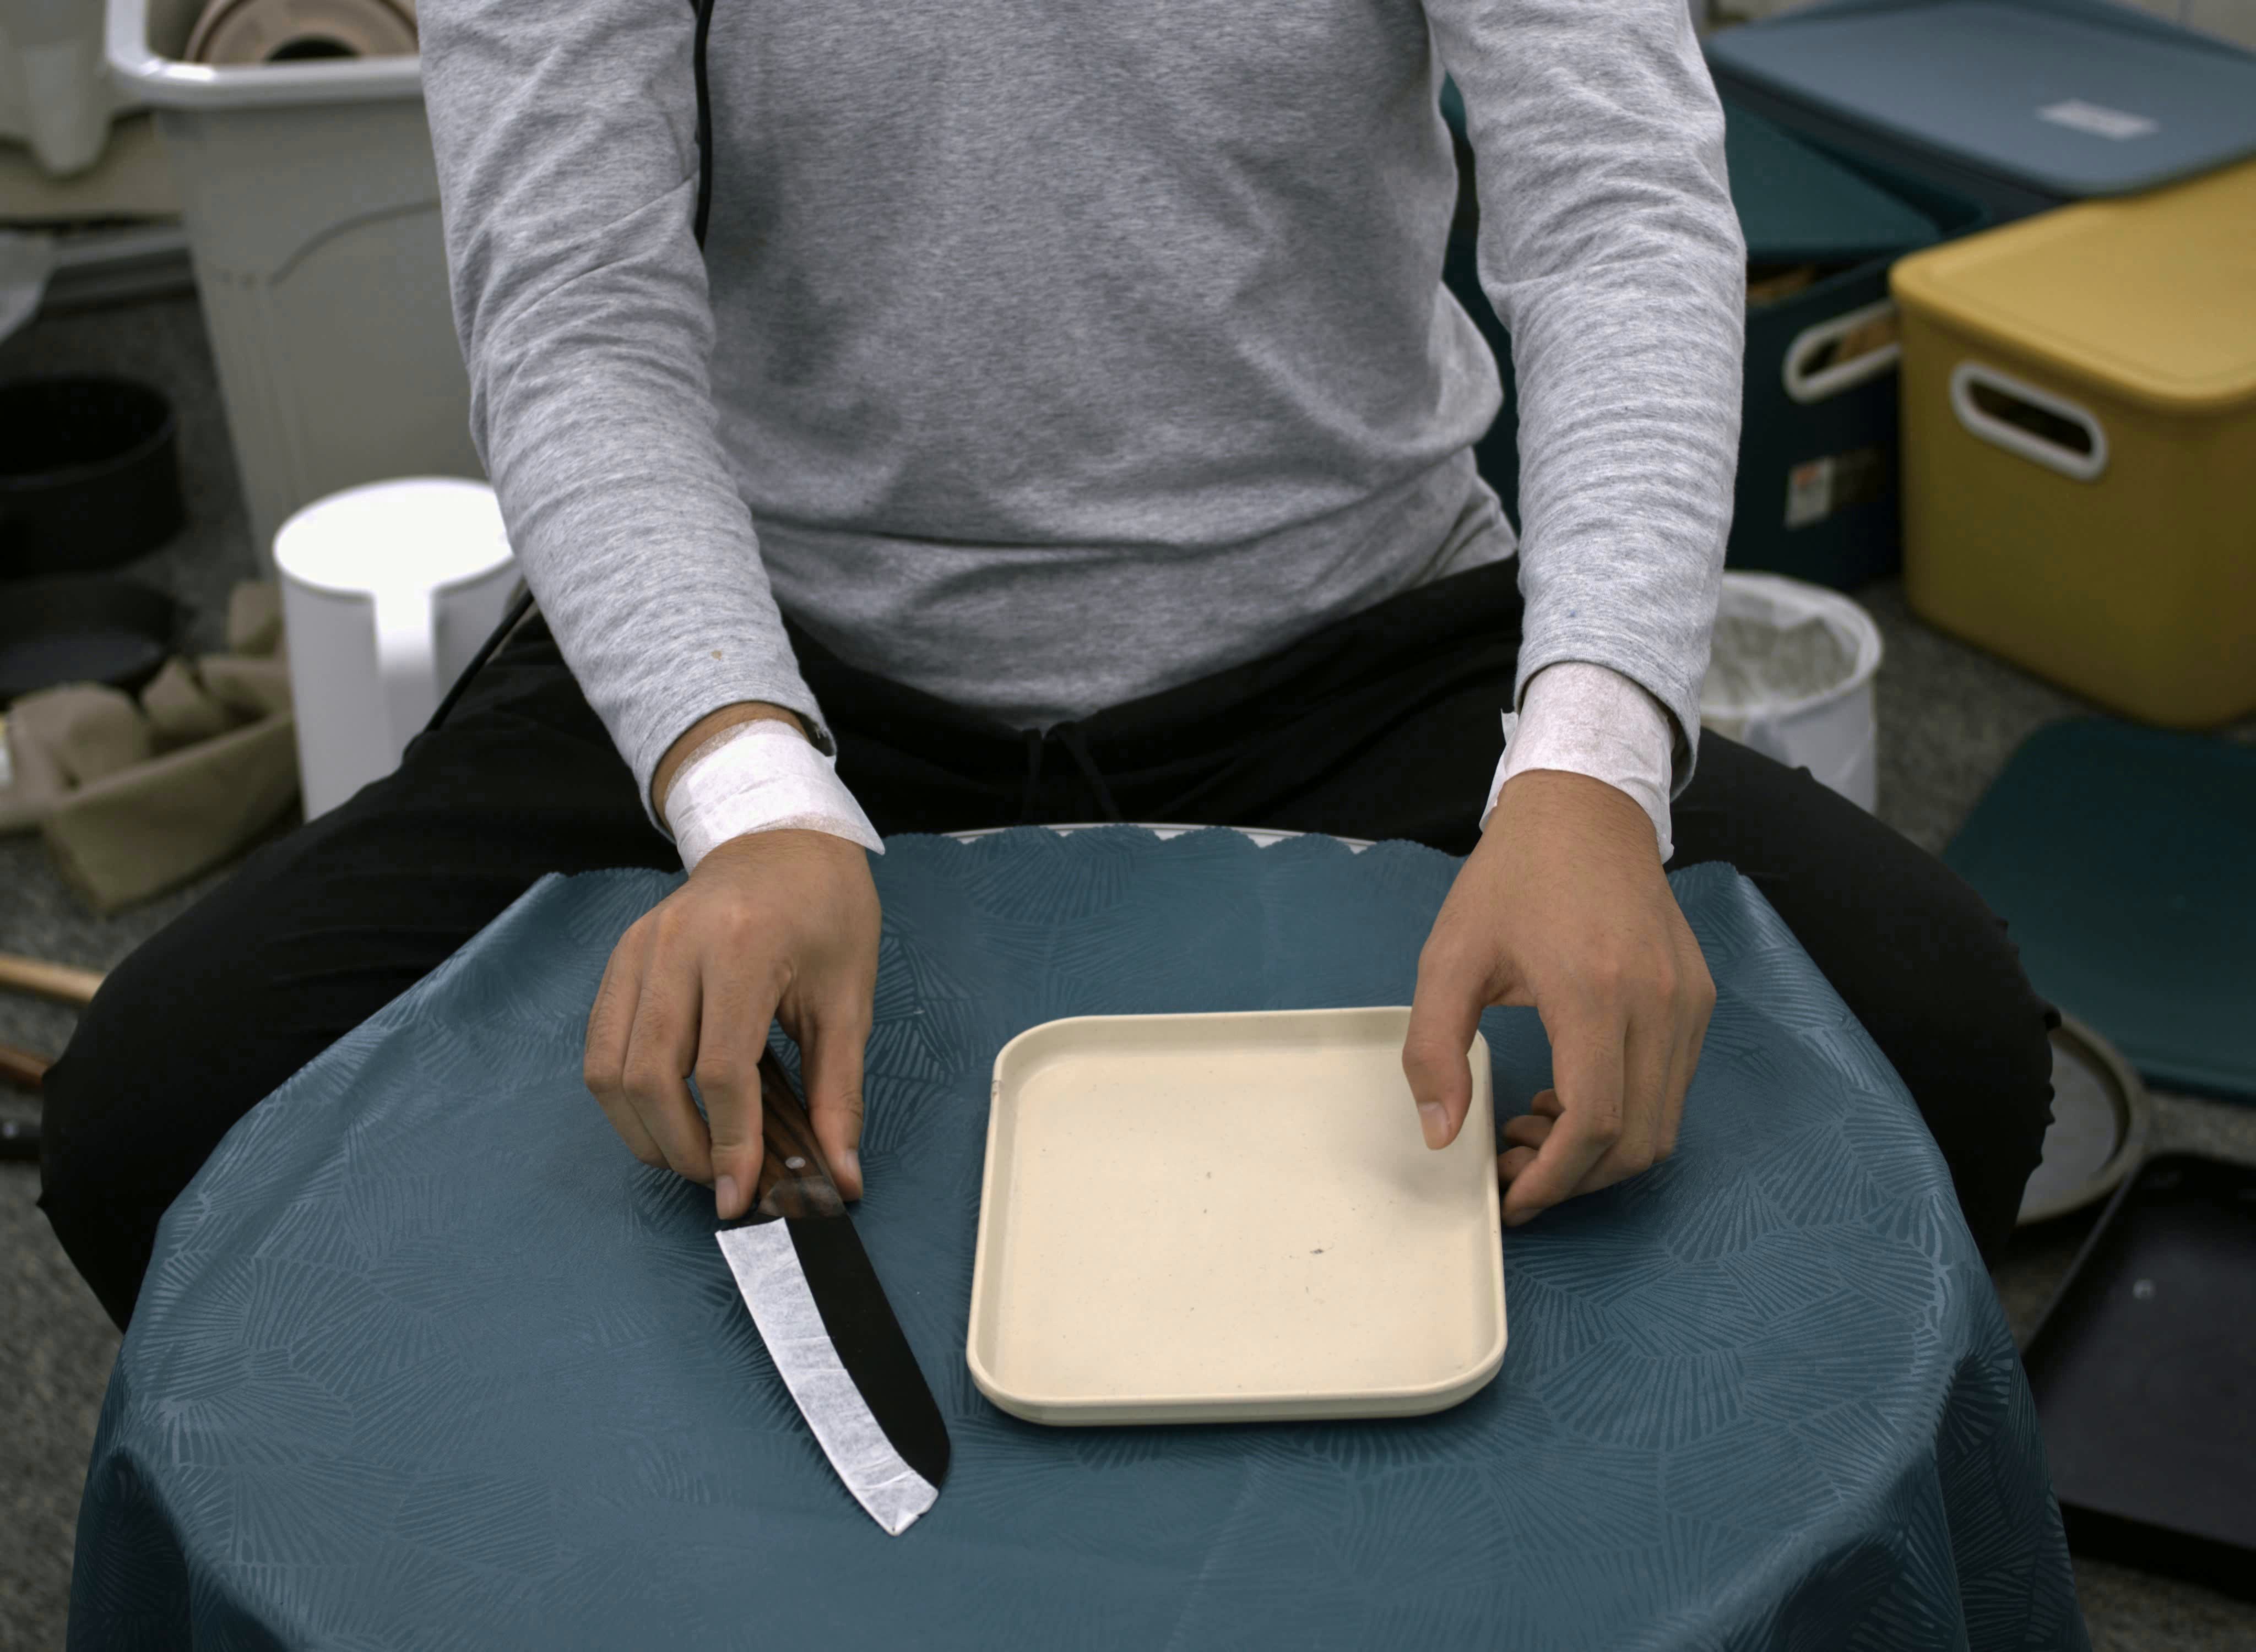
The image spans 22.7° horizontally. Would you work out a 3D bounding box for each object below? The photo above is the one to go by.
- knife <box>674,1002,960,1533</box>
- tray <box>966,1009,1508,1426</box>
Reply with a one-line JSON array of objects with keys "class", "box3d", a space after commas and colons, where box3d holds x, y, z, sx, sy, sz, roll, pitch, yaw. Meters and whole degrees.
[{"class": "knife", "box3d": [-0.105, 0.140, 1.809, 0.050, 0.020, 0.292, -8, 32, -13]}, {"class": "tray", "box3d": [0.036, 0.127, 1.830, 0.170, 0.017, 0.243, -1, 27, 3]}]
